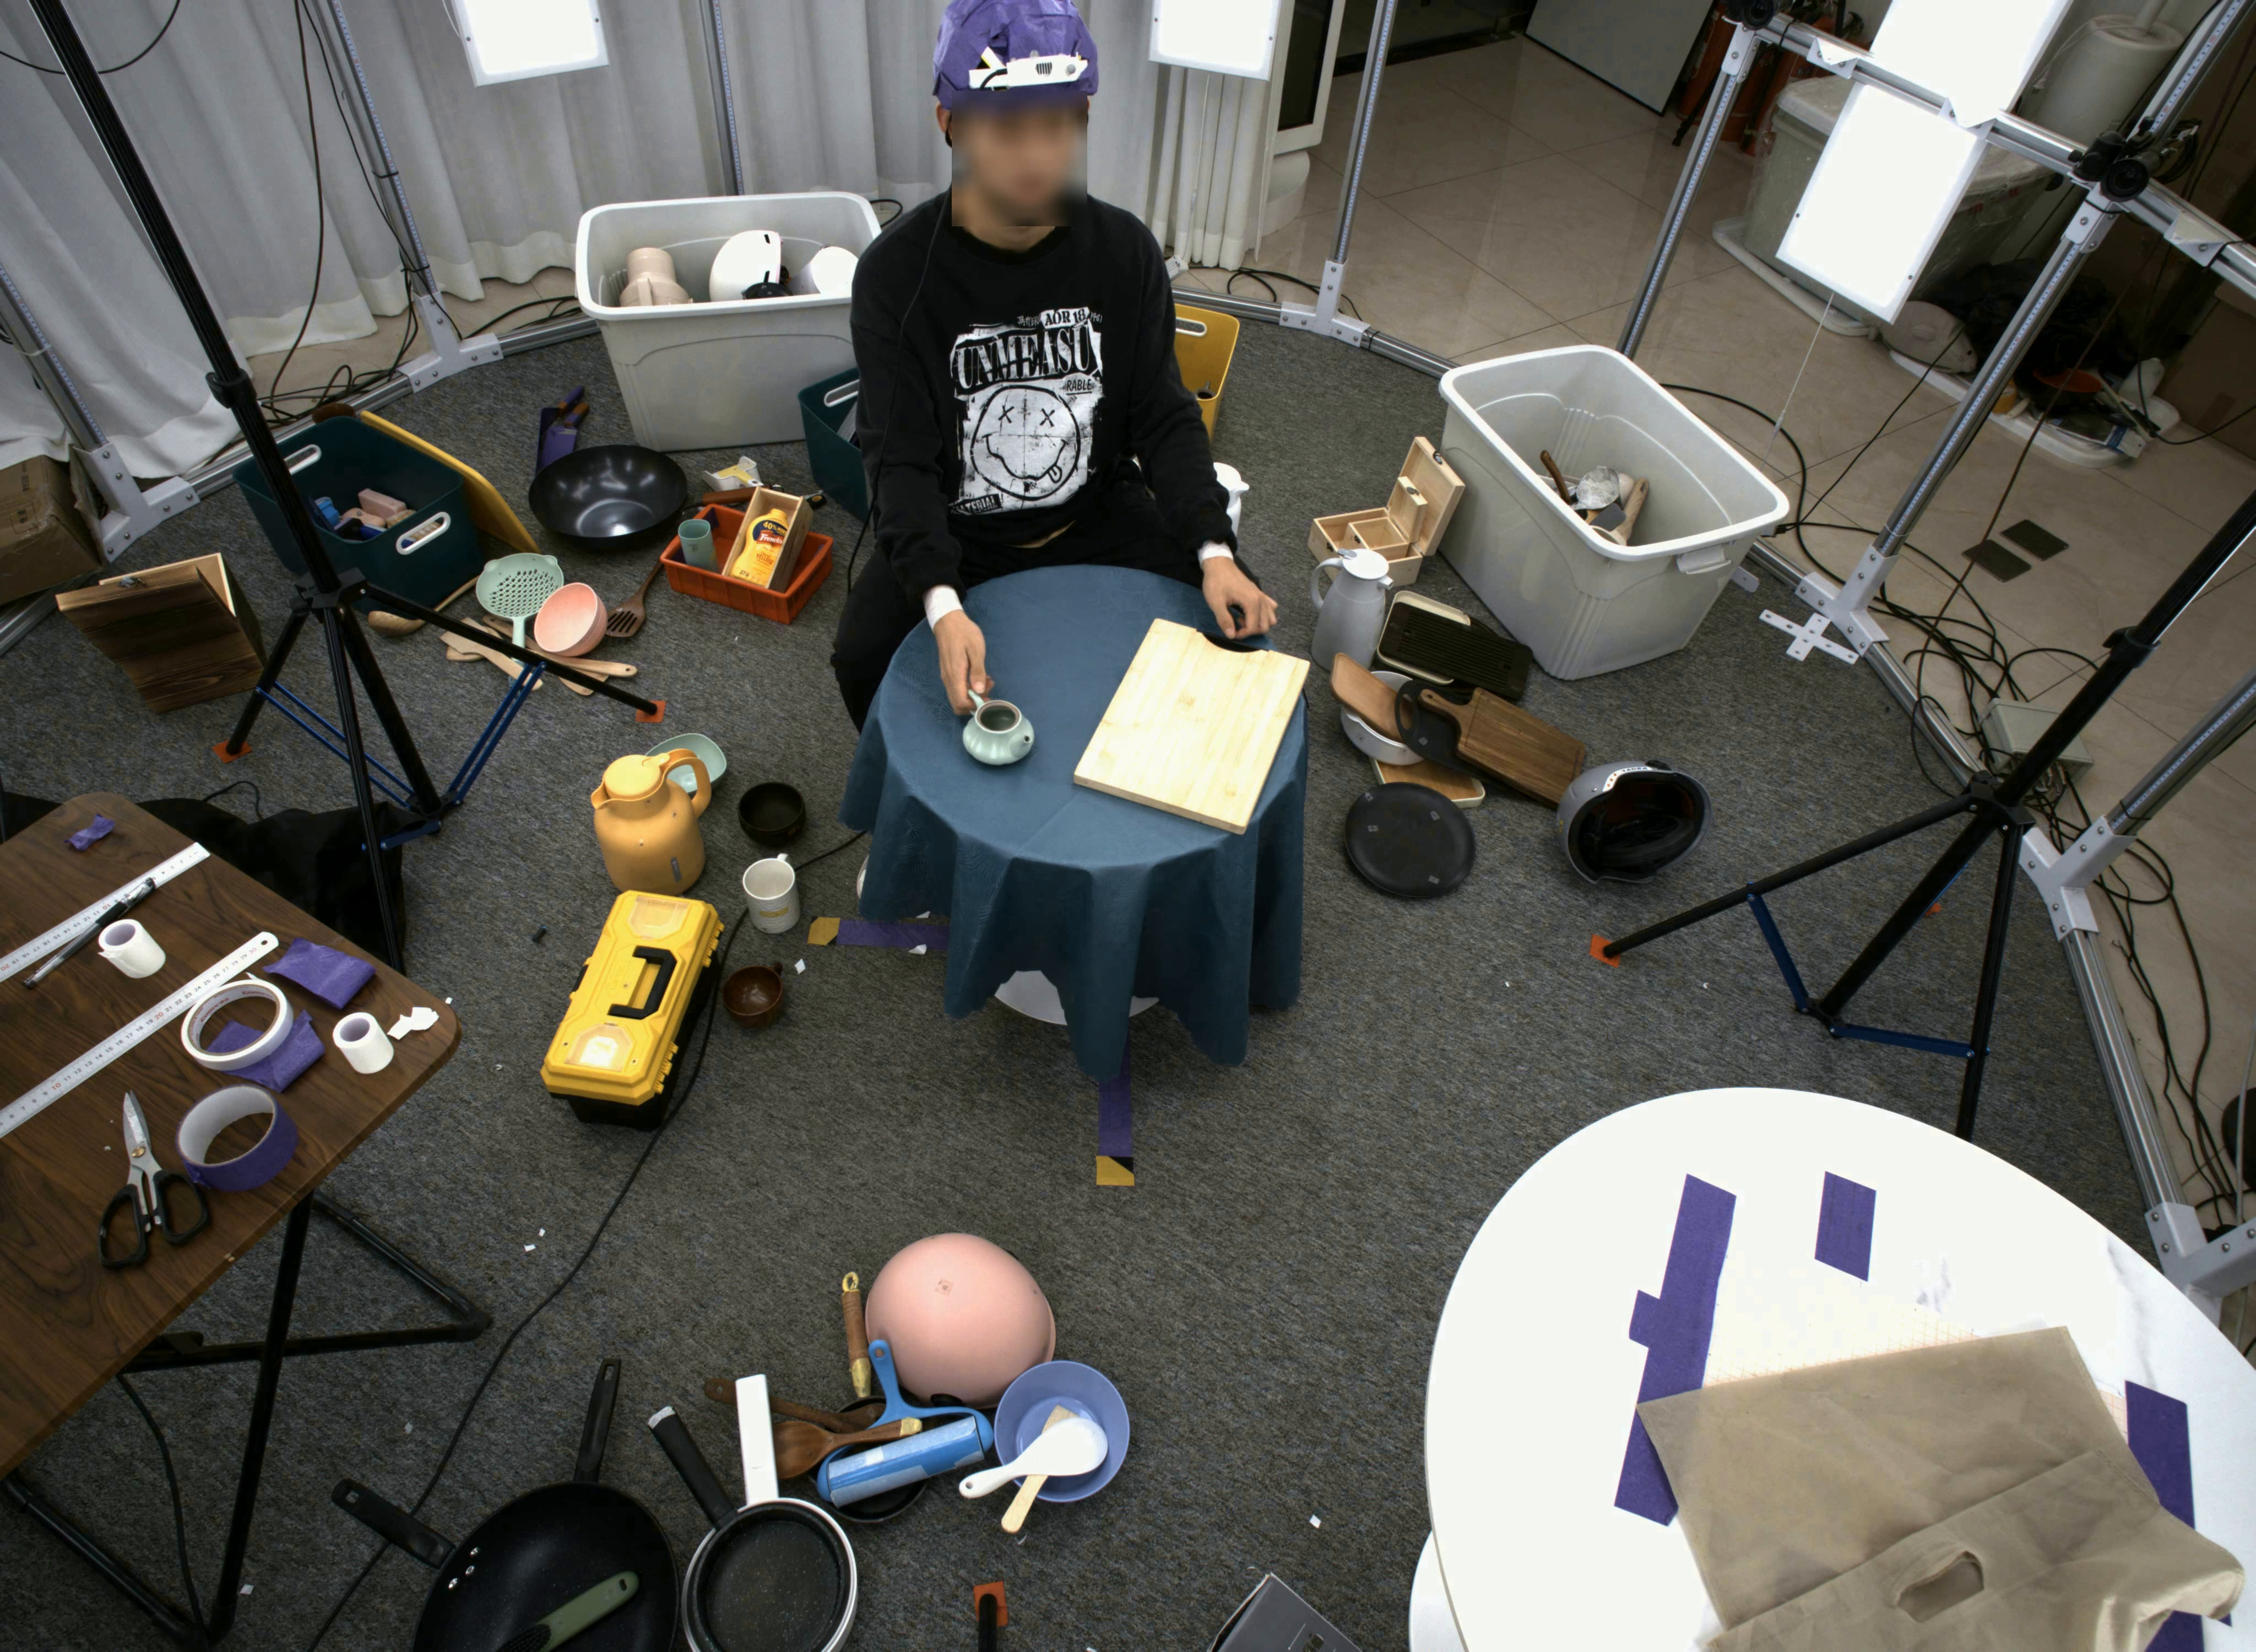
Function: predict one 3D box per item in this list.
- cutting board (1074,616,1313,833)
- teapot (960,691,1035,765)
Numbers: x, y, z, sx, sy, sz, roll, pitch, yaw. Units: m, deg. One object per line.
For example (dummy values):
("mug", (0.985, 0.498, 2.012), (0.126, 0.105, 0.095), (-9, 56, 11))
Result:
("cutting board", (0.099, -0.152, 1.797), (0.251, 0.023, 0.356), (16, 50, 10))
("teapot", (-0.178, -0.132, 1.734), (0.139, 0.060, 0.097), (38, 58, 25))
